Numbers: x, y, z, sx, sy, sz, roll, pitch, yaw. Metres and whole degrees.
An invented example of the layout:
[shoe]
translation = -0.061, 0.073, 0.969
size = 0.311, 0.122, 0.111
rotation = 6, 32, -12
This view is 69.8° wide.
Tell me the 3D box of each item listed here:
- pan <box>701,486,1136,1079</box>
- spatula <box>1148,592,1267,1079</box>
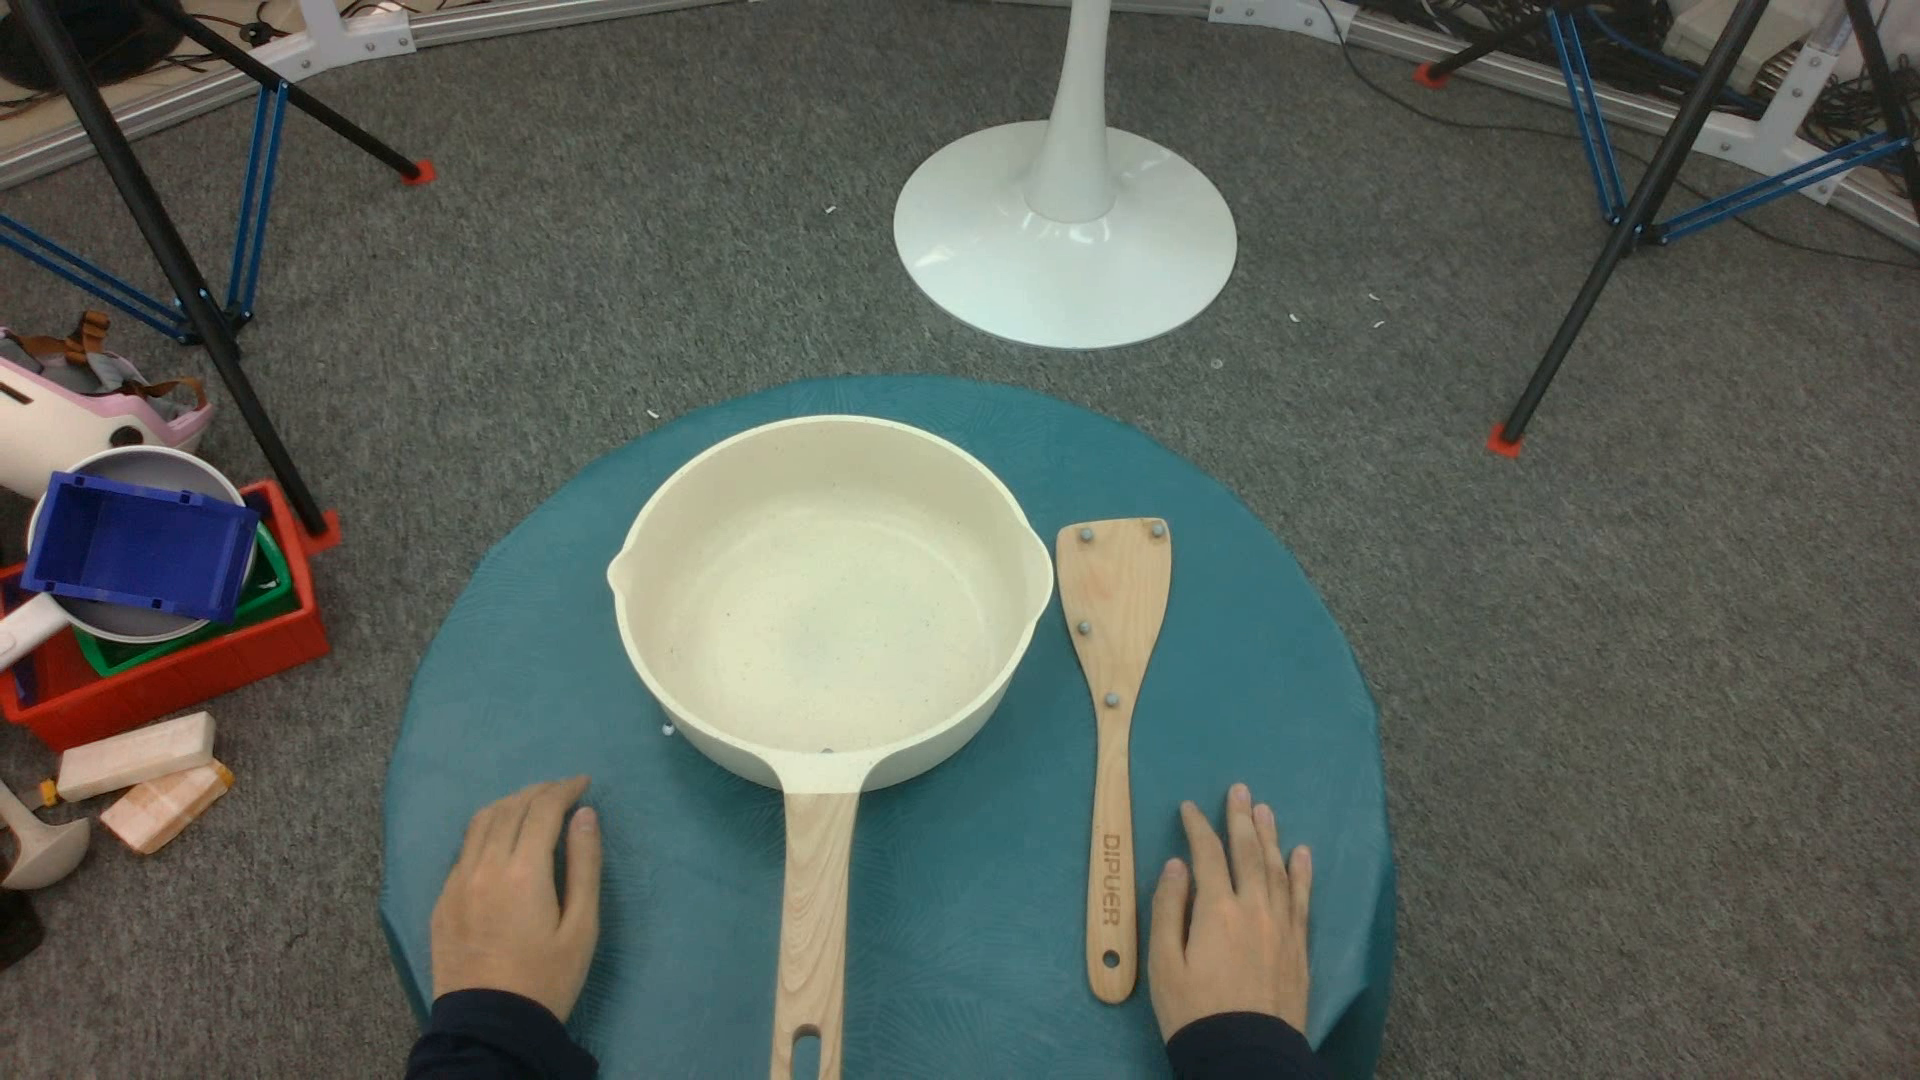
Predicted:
[pan]
translation = -0.028, 0.153, 0.796
size = 0.263, 0.101, 0.437
rotation = 1, 50, 1
[spatula]
translation = 0.148, 0.163, 0.841
size = 0.080, 0.016, 0.329
rotation = 6, 51, 5
